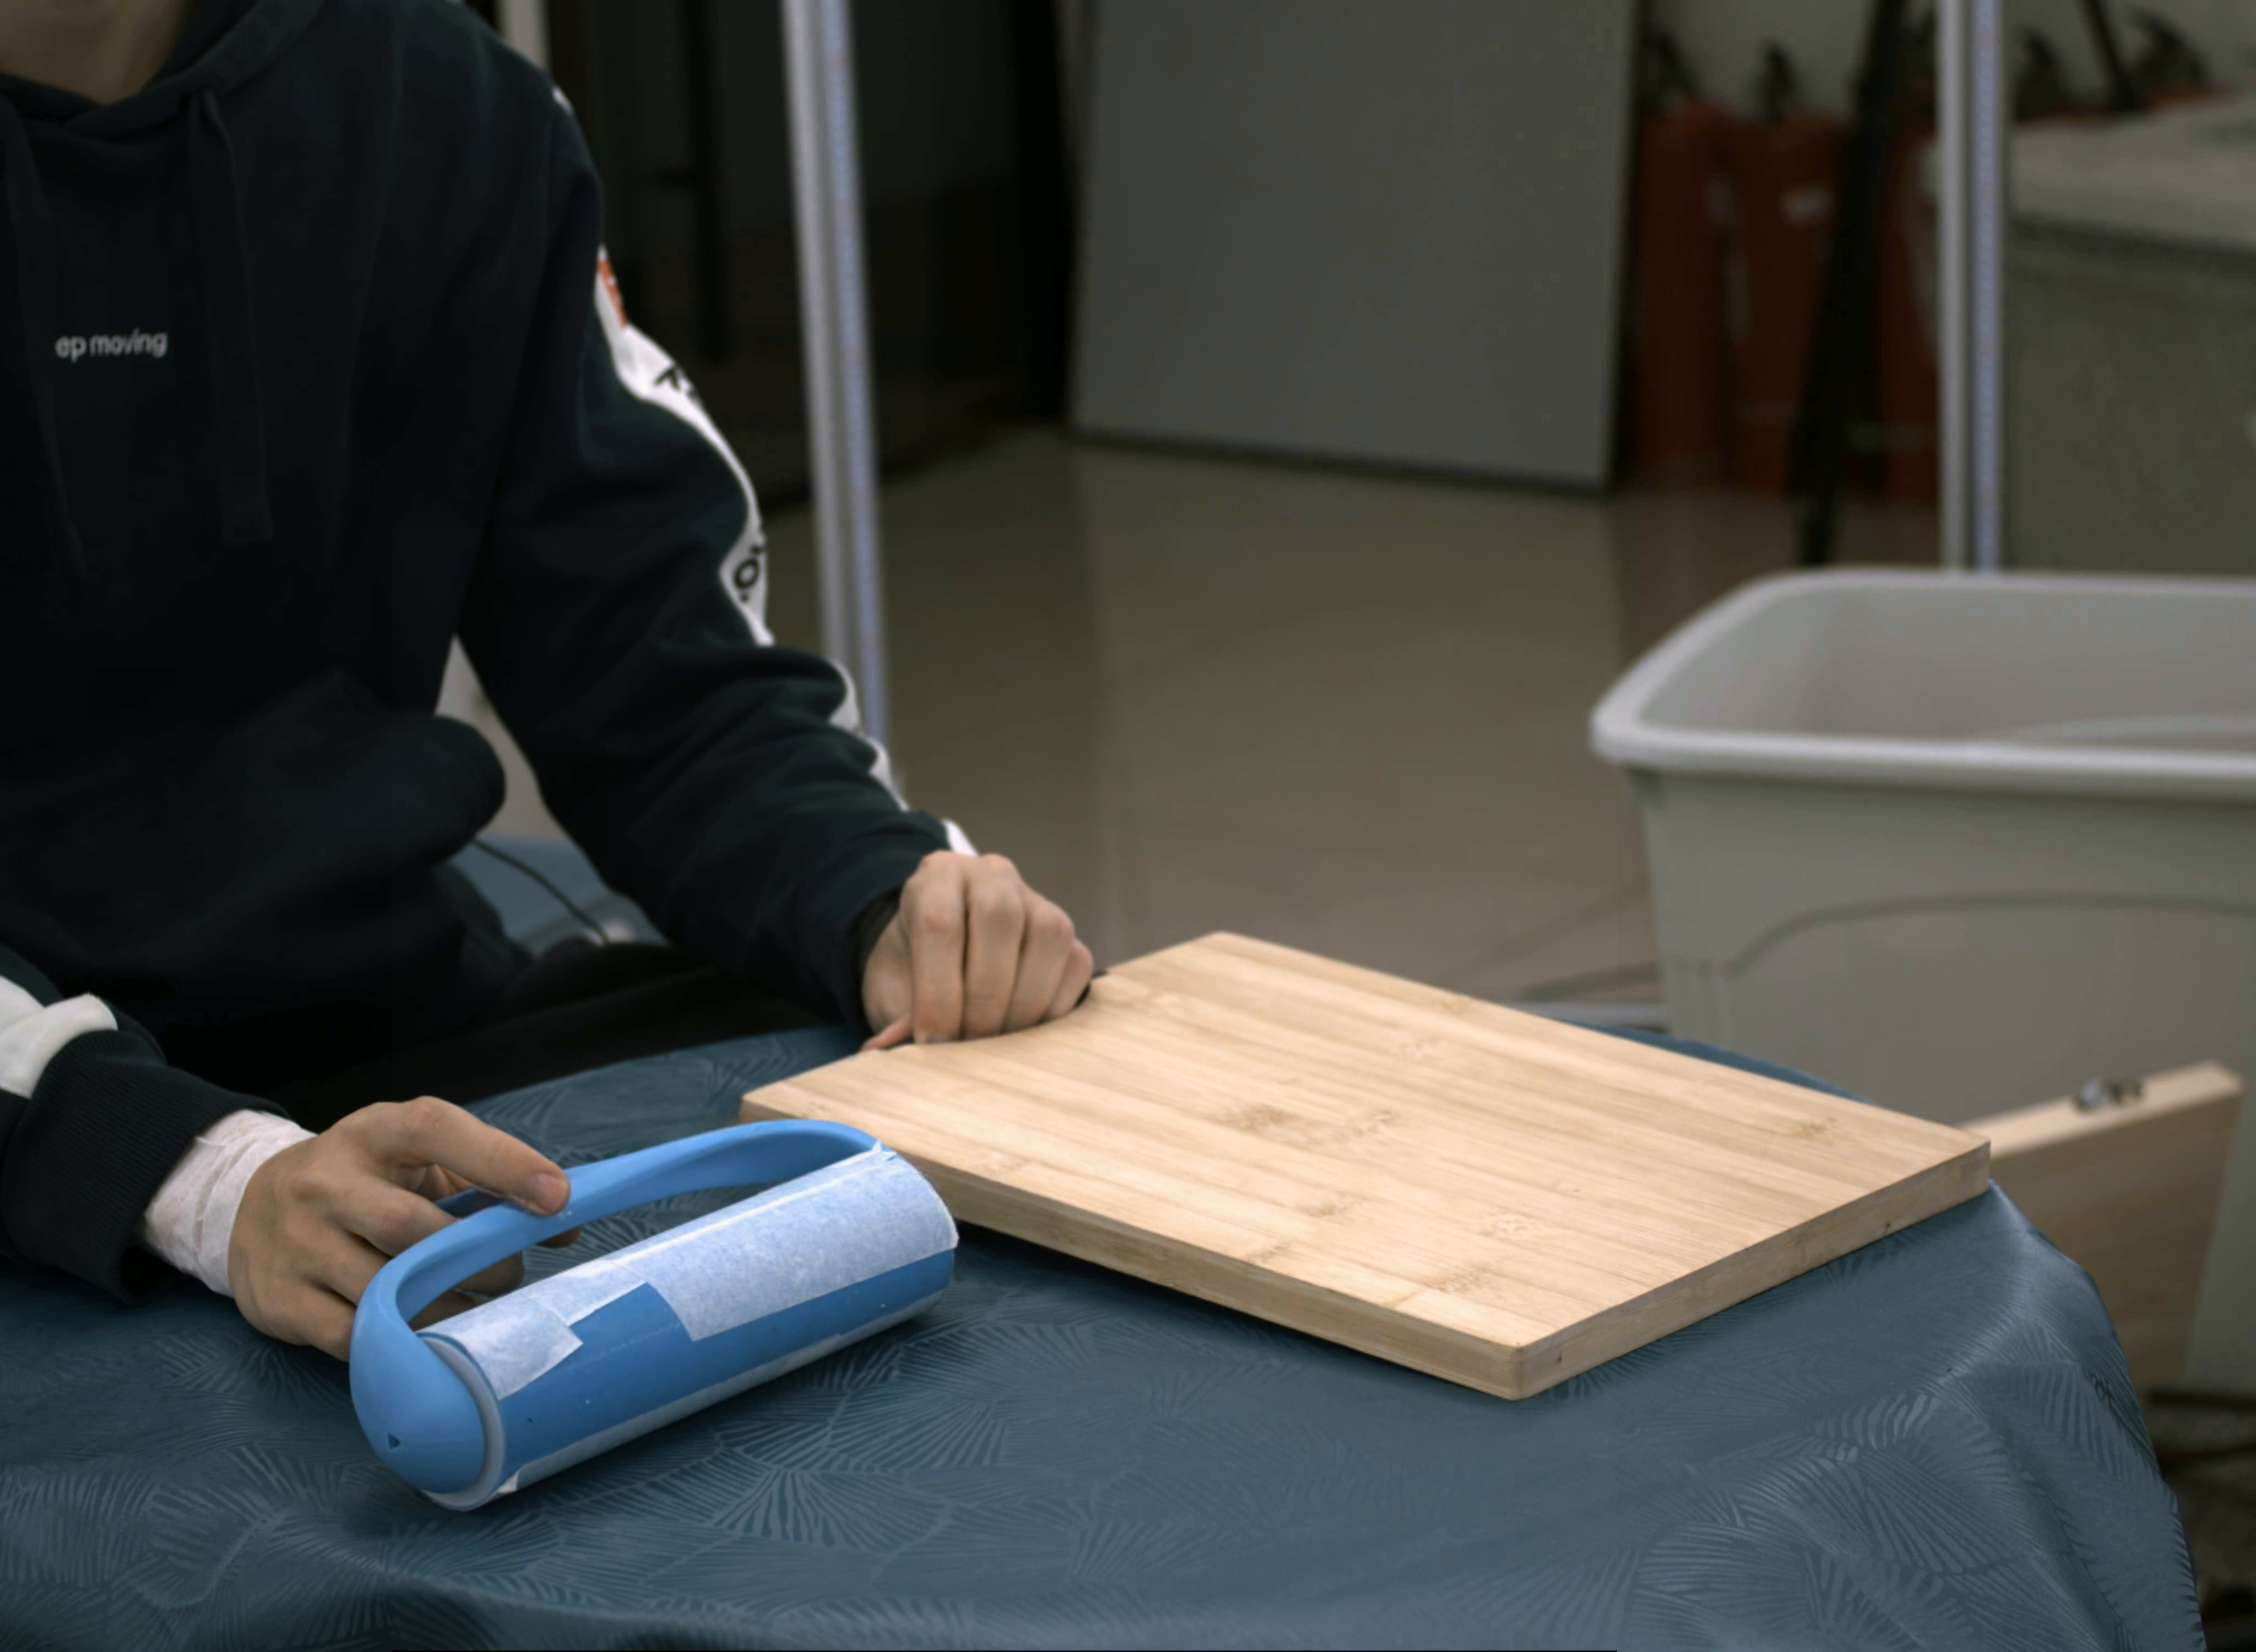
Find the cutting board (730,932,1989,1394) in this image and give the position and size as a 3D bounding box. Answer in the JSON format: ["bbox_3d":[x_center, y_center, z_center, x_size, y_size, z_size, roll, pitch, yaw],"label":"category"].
[{"bbox_3d":[0.071,0.103,1.753,0.352,0.024,0.245,13,22,42],"label":"cutting board"}]

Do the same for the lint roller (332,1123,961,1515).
[{"bbox_3d":[-0.177,0.140,1.629,0.181,0.068,0.225,8,19,37],"label":"lint roller"}]
